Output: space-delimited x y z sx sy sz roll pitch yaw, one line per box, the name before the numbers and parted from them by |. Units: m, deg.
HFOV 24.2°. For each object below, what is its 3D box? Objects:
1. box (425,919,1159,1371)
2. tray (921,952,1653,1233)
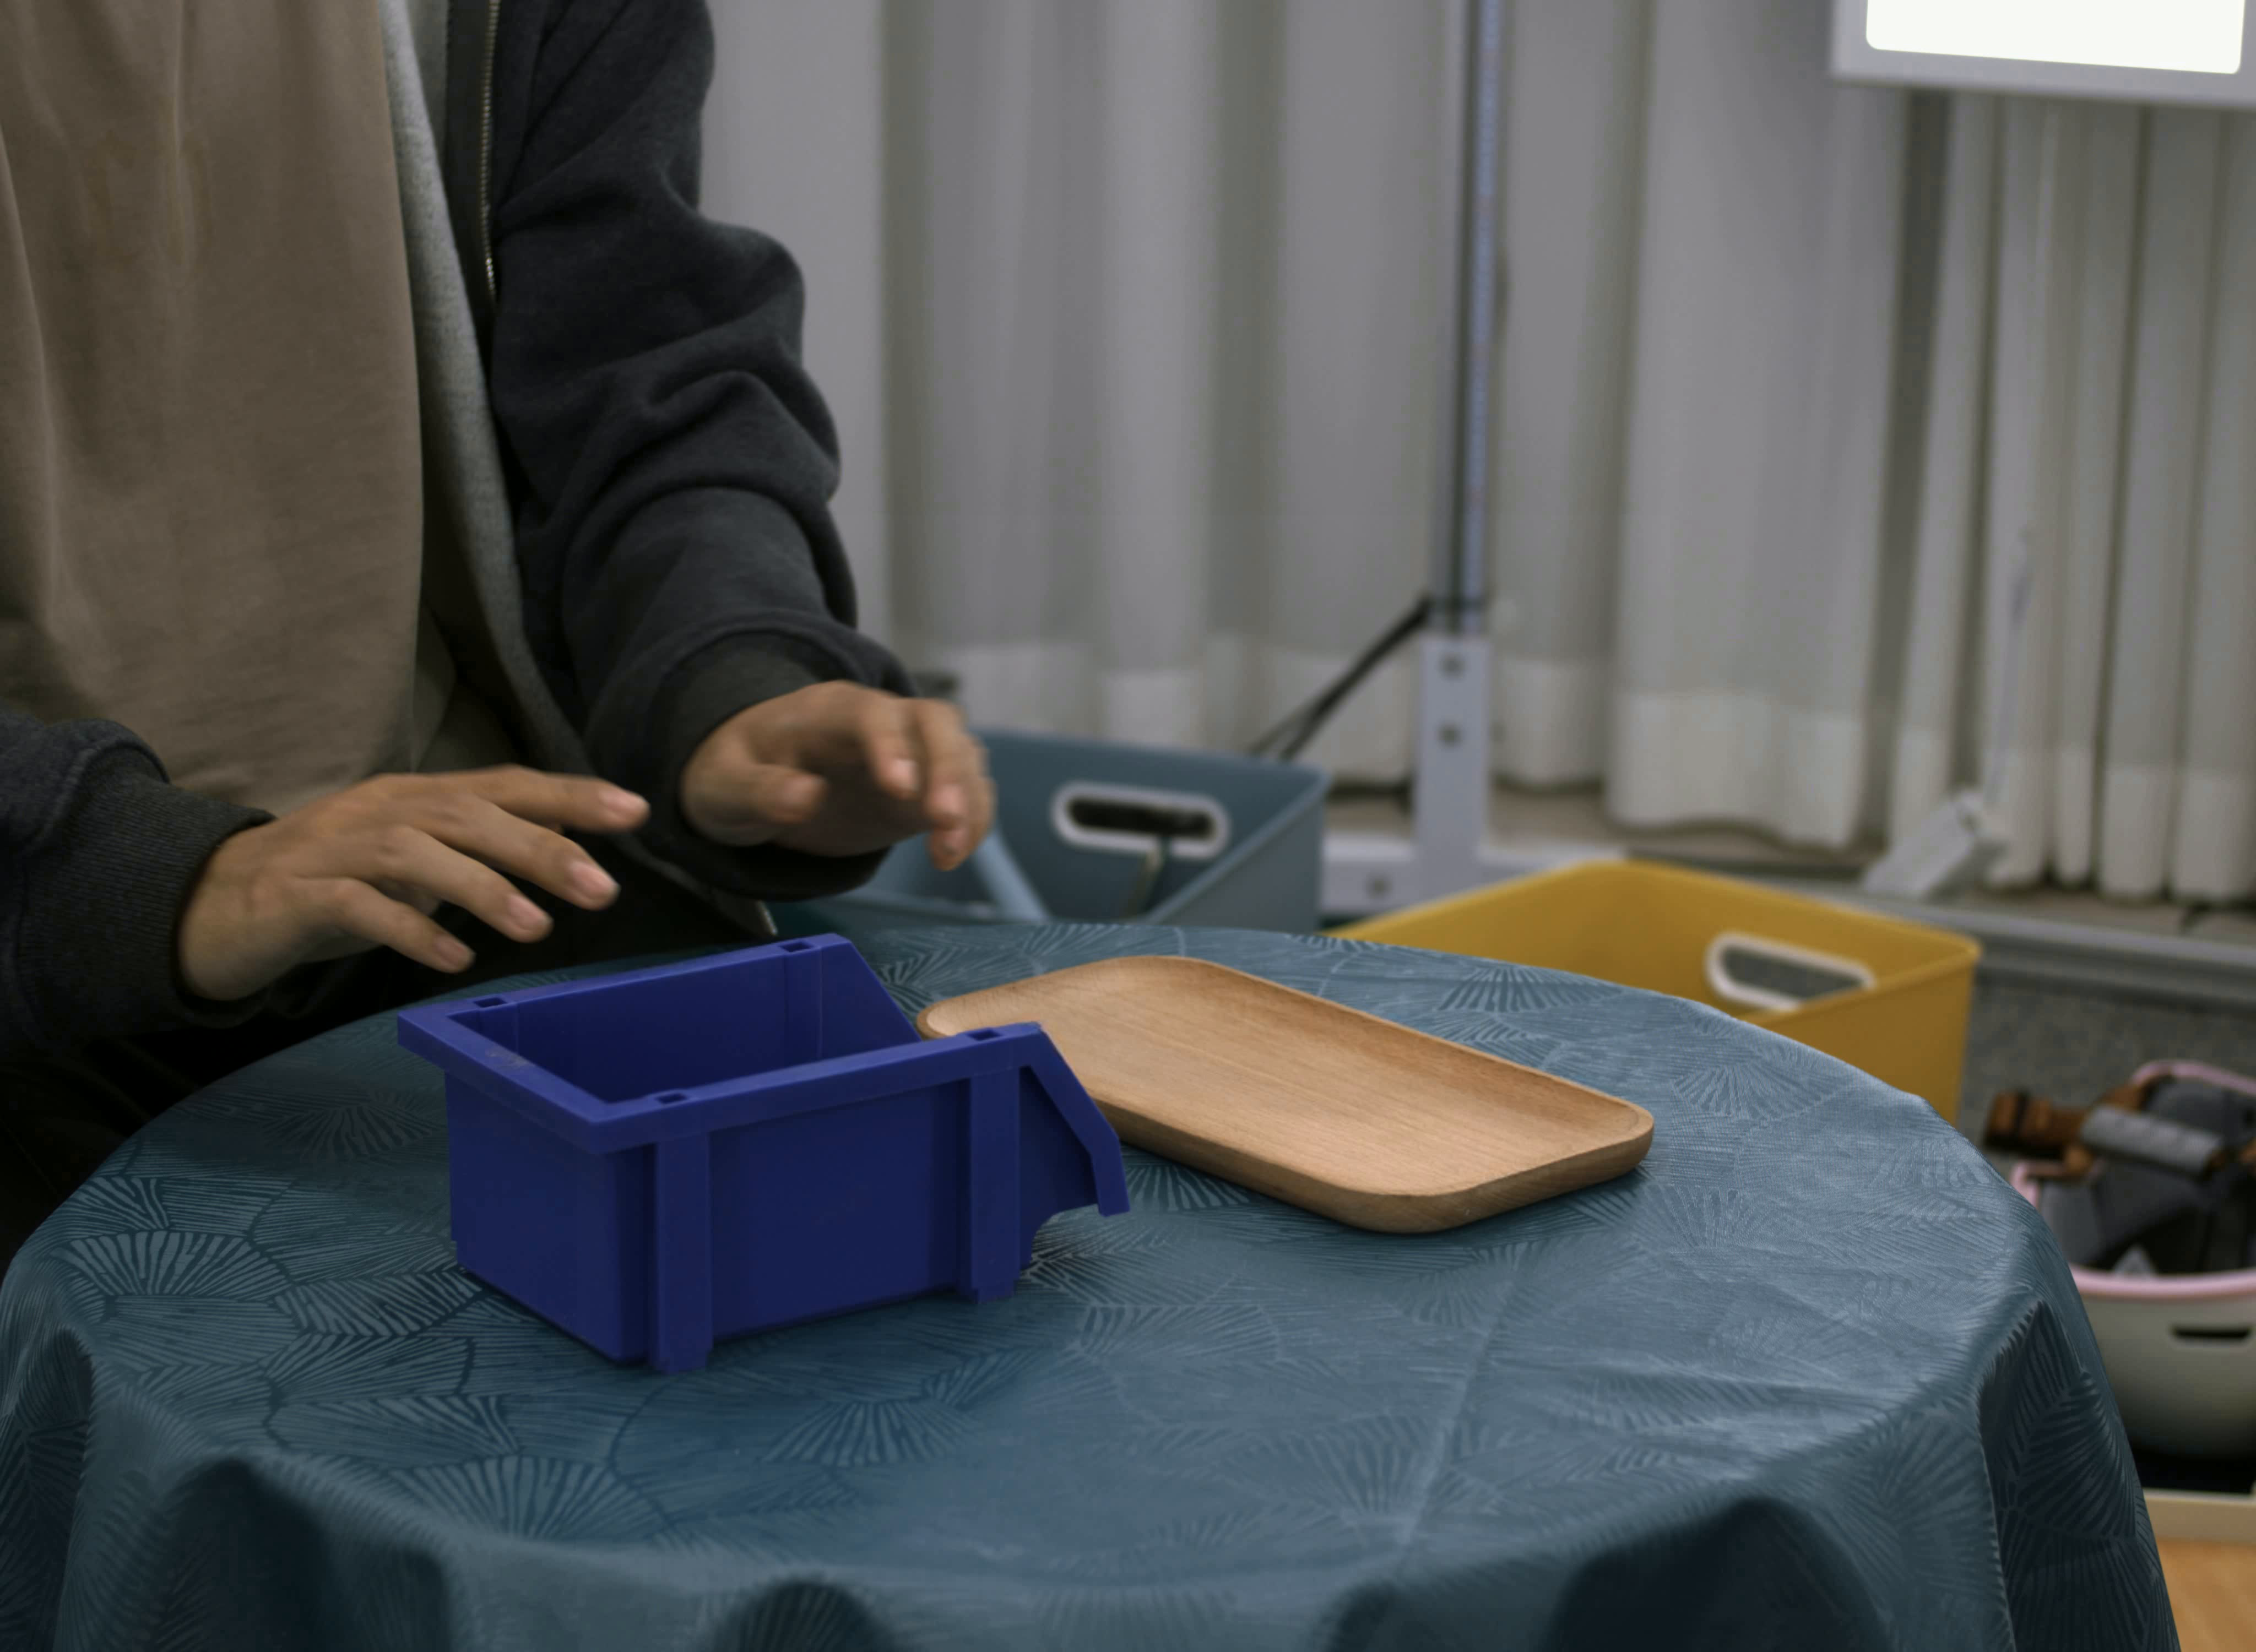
box | -0.099 0.089 1.549 0.180 0.082 0.123 -13 20 -30
tray | 0.046 0.083 1.696 0.131 0.023 0.247 -9 18 -40
